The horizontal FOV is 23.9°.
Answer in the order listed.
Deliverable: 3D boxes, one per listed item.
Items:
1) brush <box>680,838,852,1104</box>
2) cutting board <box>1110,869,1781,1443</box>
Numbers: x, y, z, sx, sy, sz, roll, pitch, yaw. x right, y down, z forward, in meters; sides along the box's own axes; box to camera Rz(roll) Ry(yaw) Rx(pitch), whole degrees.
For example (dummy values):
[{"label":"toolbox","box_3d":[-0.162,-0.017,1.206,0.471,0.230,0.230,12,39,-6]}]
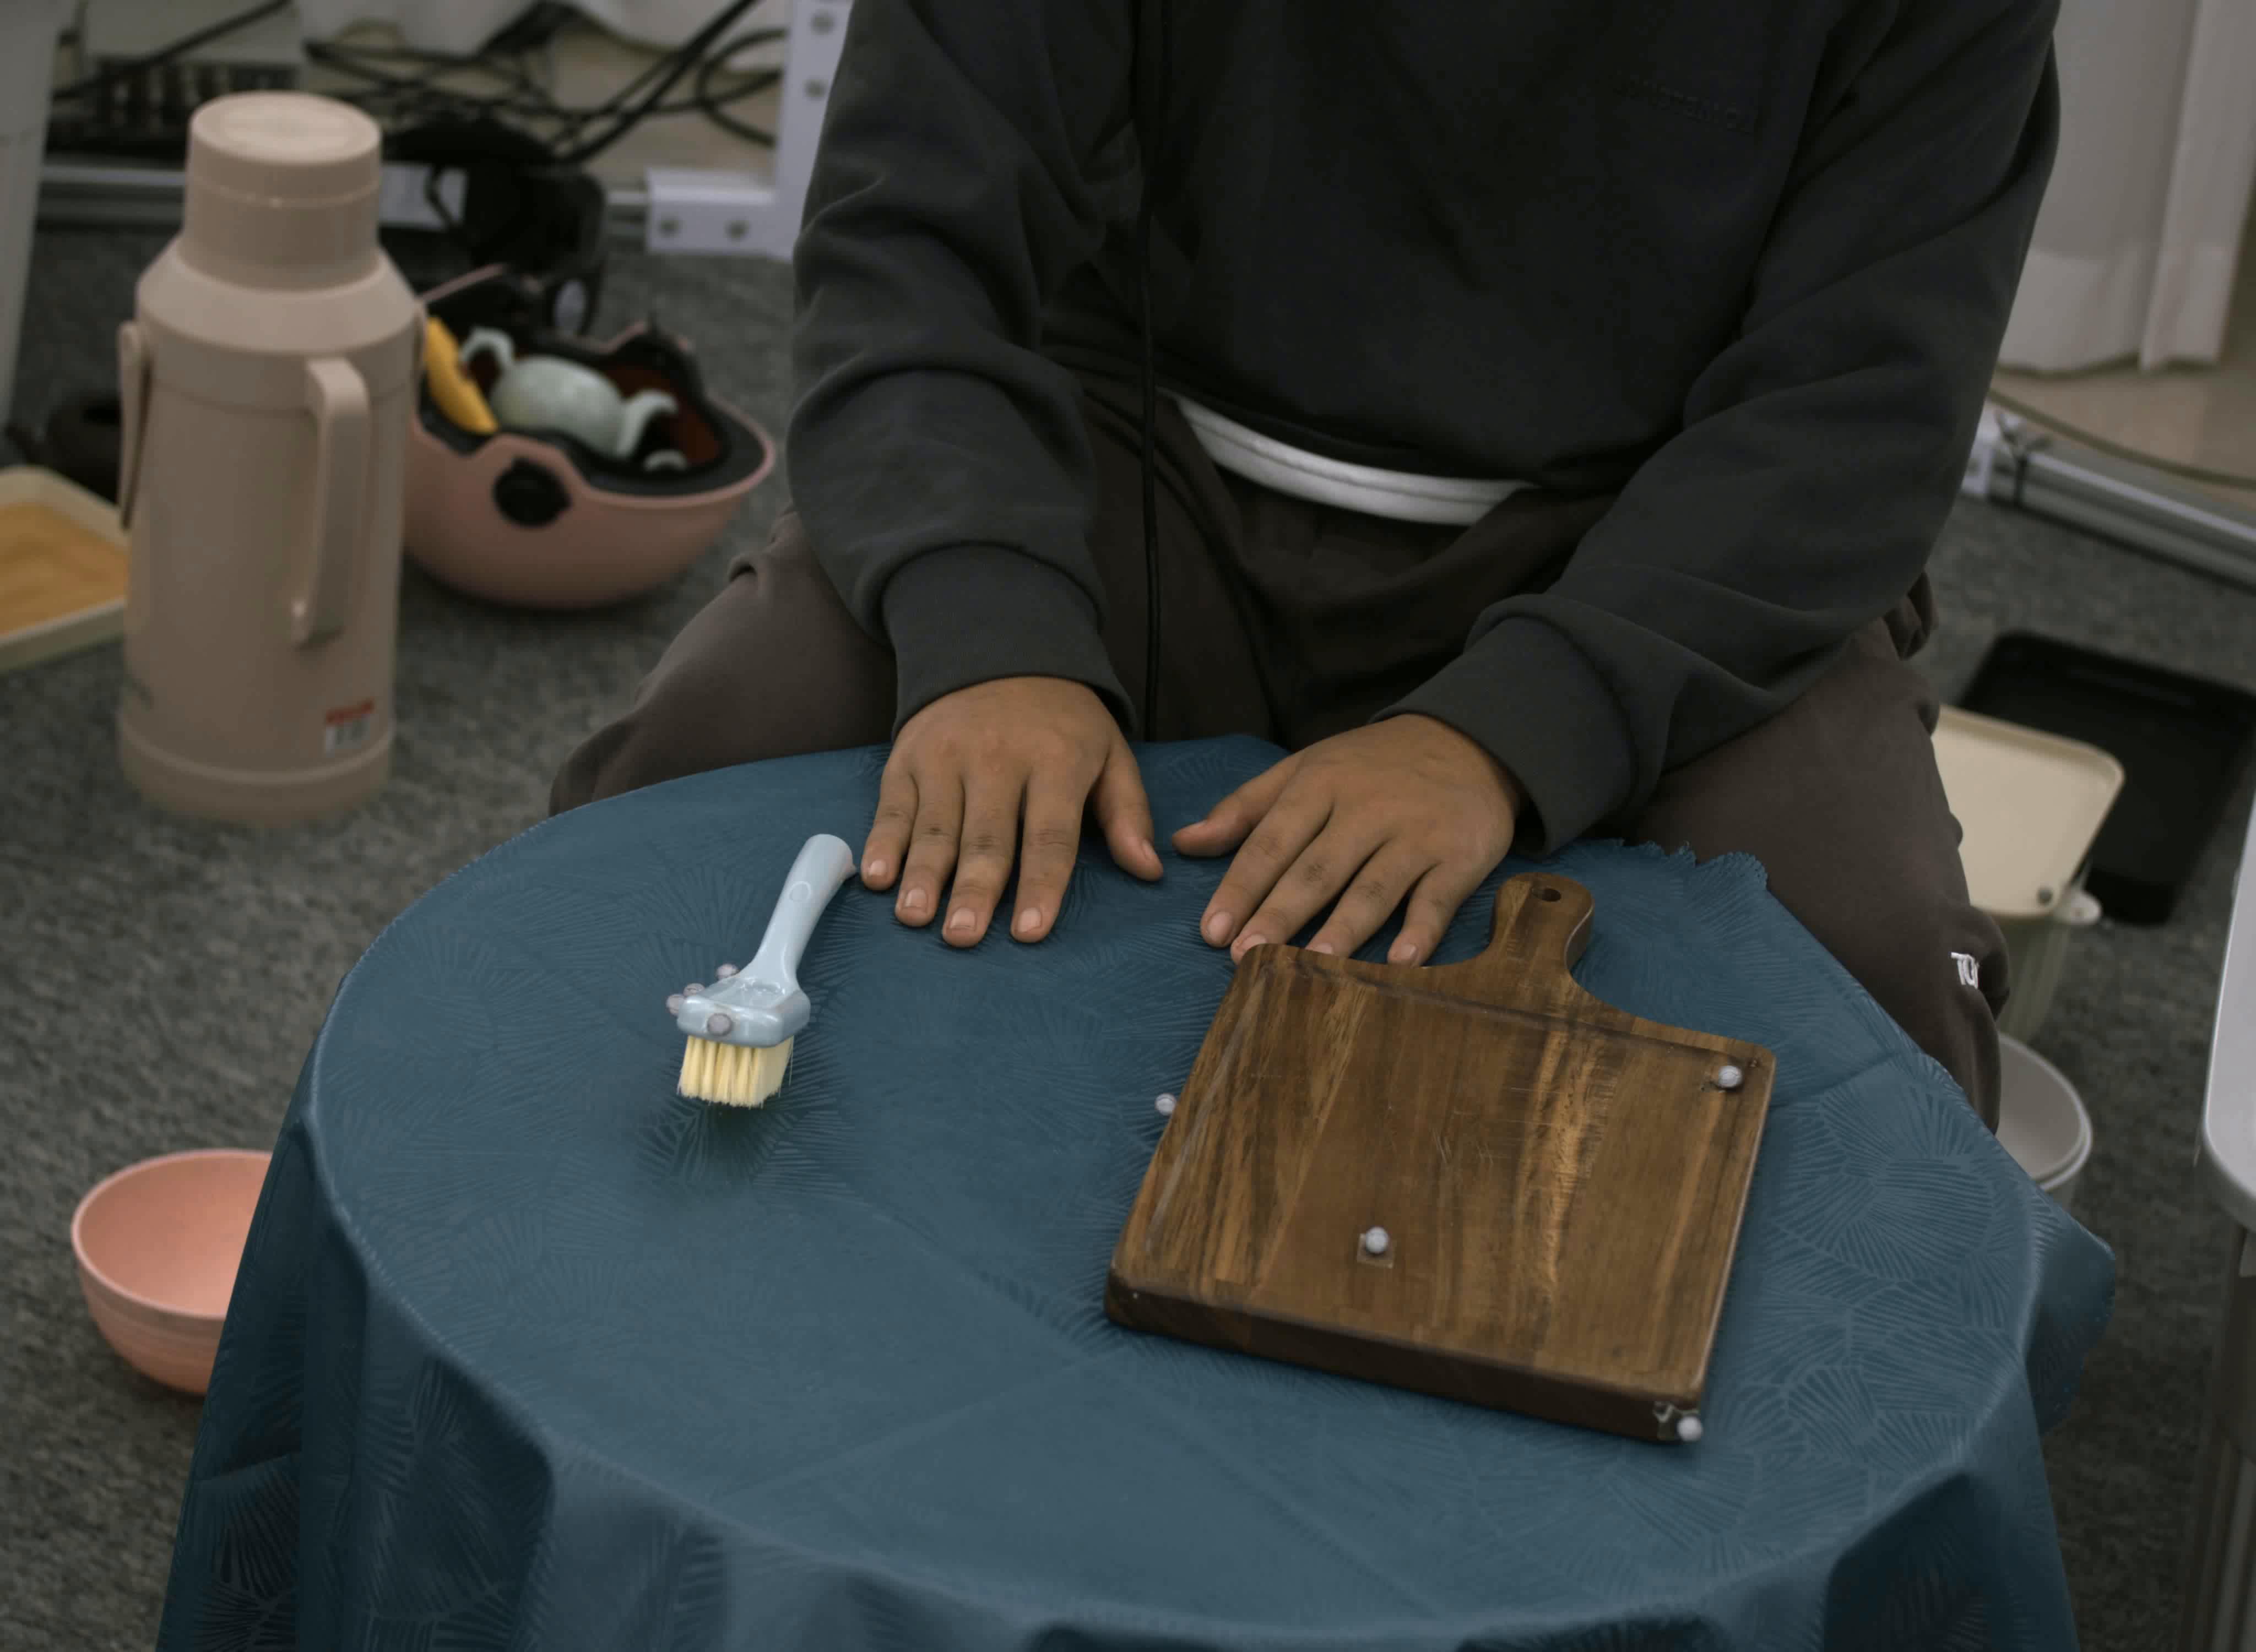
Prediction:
[{"label":"brush","box_3d":[-0.125,0.051,1.885,0.038,0.049,0.229,10,18,2]},{"label":"cutting board","box_3d":[0.124,0.099,1.861,0.201,0.023,0.353,12,27,9]}]
